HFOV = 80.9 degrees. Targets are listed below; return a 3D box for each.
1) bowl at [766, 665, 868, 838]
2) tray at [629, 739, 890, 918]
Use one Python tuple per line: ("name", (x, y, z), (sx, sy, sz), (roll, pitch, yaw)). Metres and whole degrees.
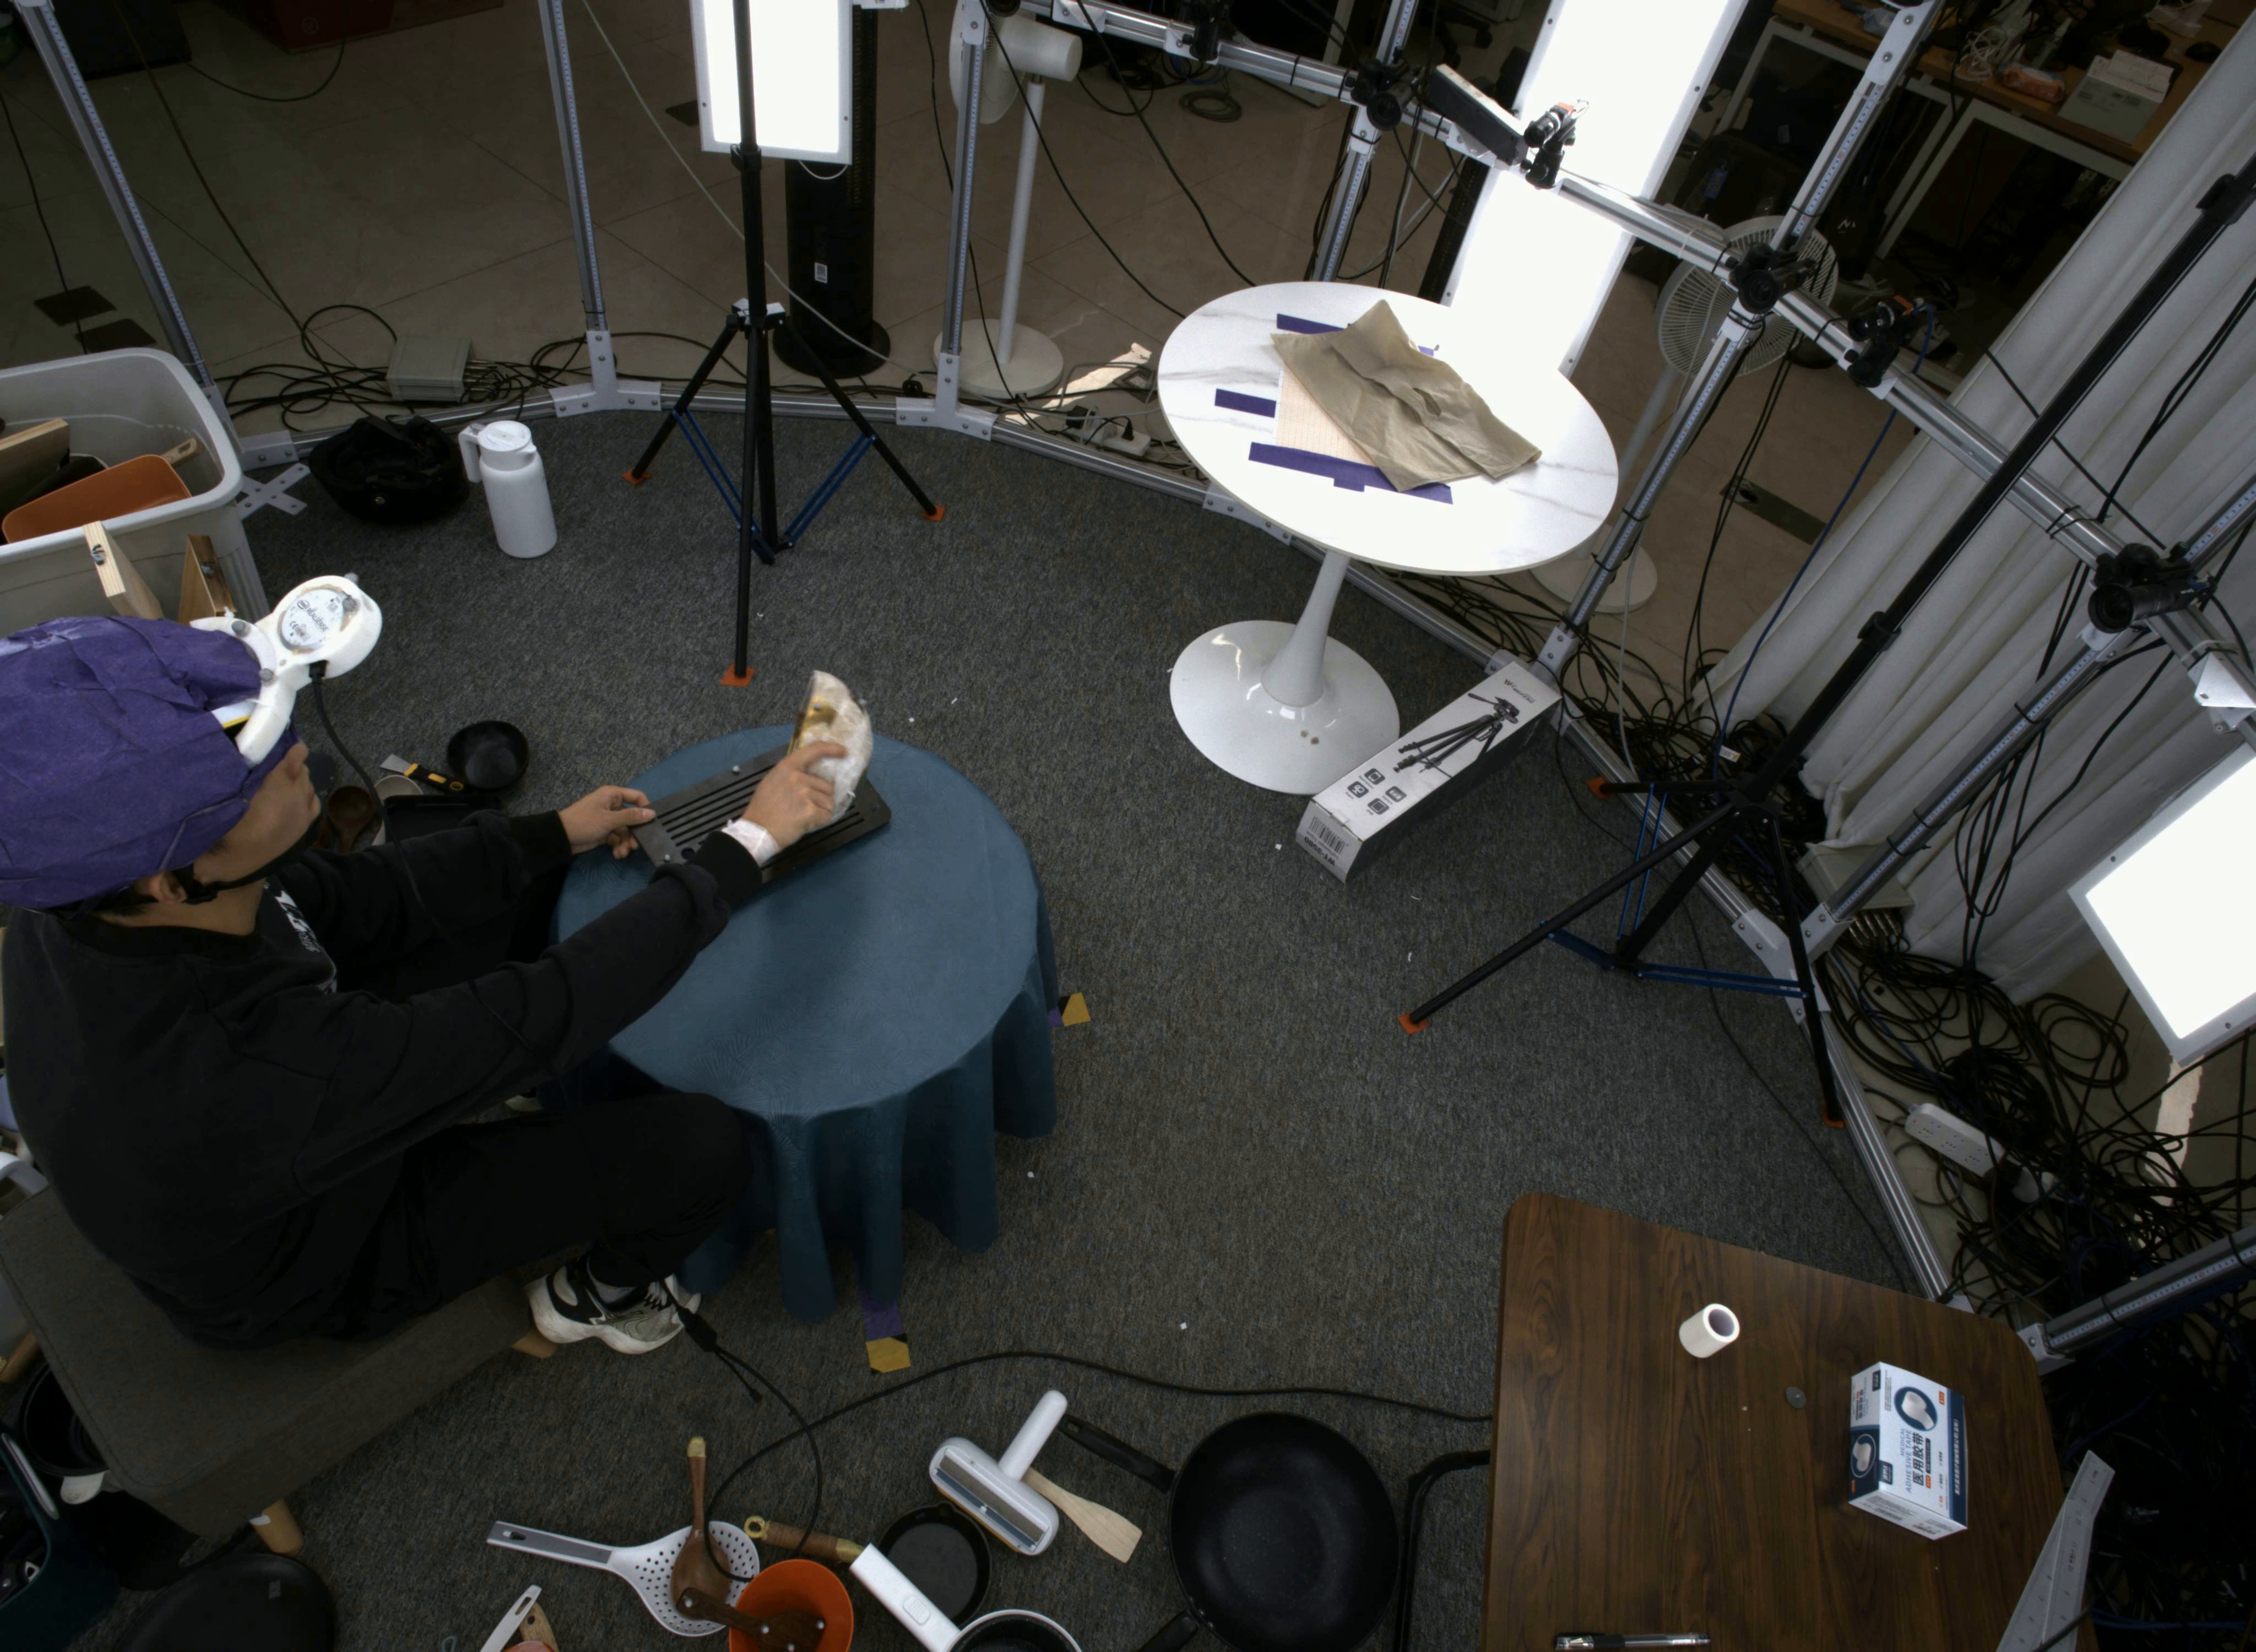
("bowl", (-0.370, -0.080, 1.578), (0.095, 0.216, 0.210), (14, 50, -17))
("tray", (-0.478, -0.011, 1.690), (0.307, 0.019, 0.168), (-30, 75, -33))
